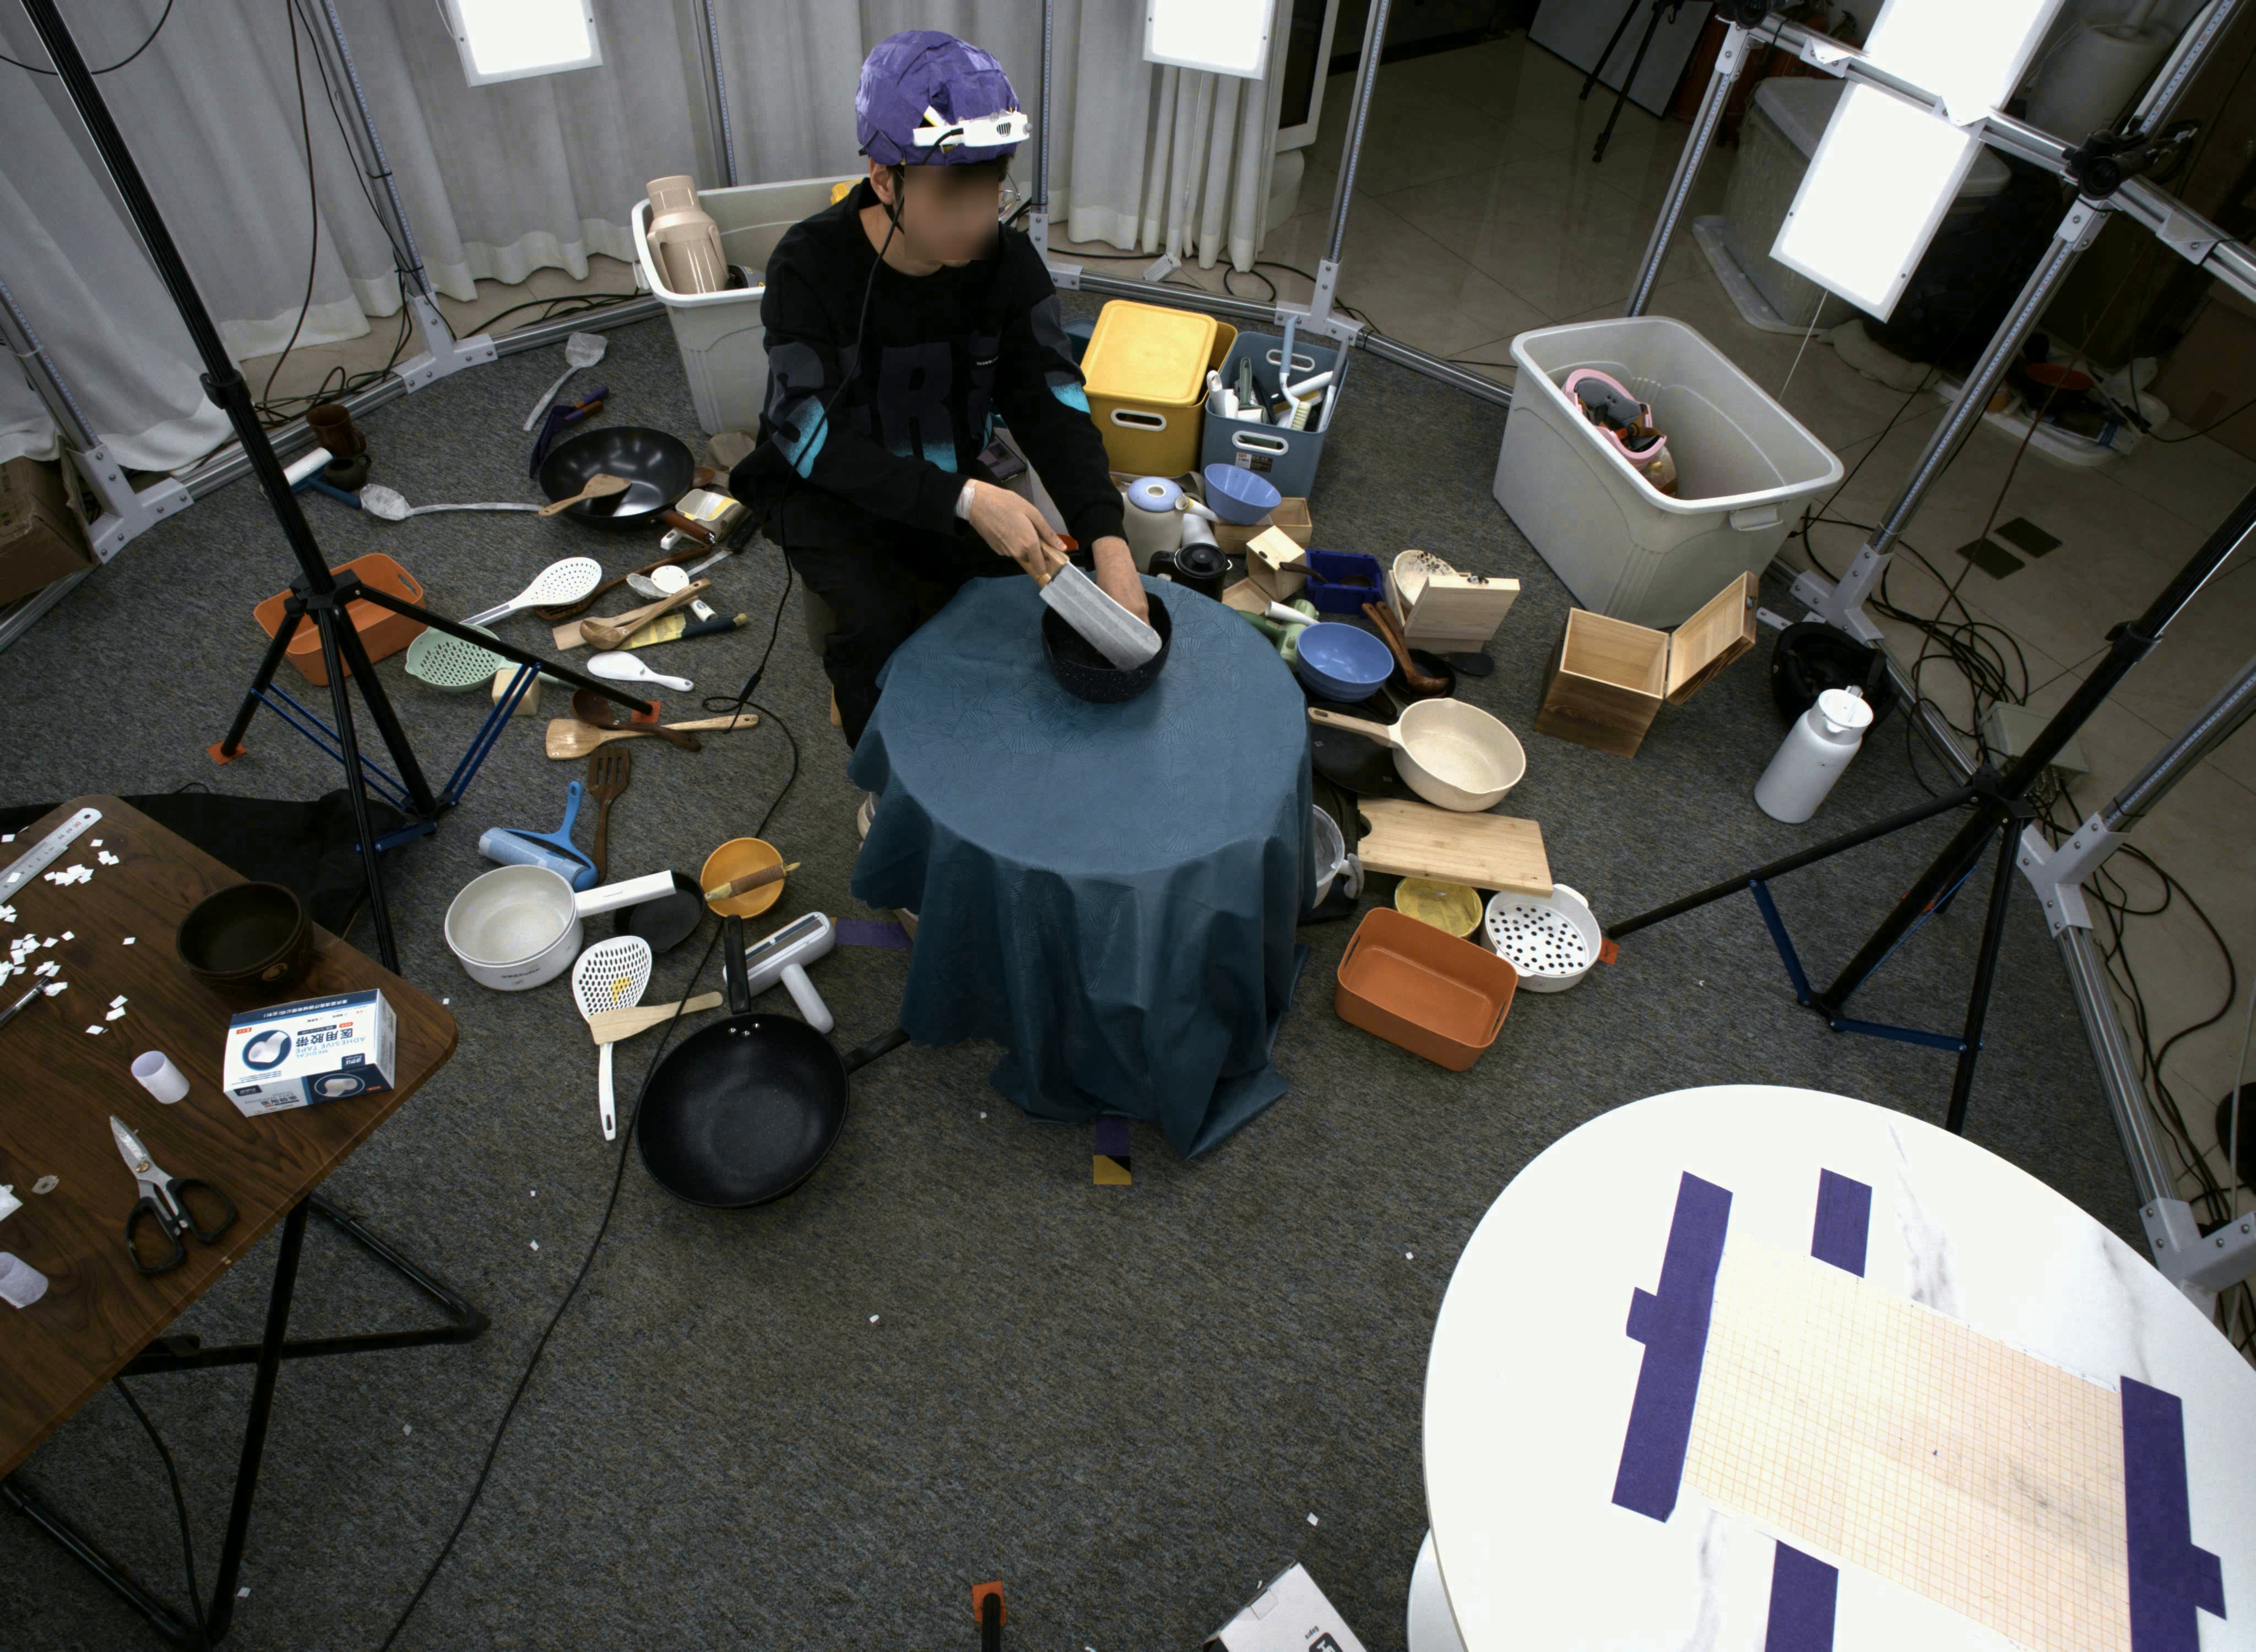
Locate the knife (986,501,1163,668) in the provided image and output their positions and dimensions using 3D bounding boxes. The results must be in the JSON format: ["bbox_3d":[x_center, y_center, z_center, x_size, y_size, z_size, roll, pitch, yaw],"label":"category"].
[{"bbox_3d":[-0.076,-0.331,1.785,0.315,0.112,0.022,44,49,-3],"label":"knife"}]

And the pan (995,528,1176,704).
[{"bbox_3d":[-0.080,-0.311,1.863,0.209,0.105,0.348,-34,60,-27],"label":"pan"}]
